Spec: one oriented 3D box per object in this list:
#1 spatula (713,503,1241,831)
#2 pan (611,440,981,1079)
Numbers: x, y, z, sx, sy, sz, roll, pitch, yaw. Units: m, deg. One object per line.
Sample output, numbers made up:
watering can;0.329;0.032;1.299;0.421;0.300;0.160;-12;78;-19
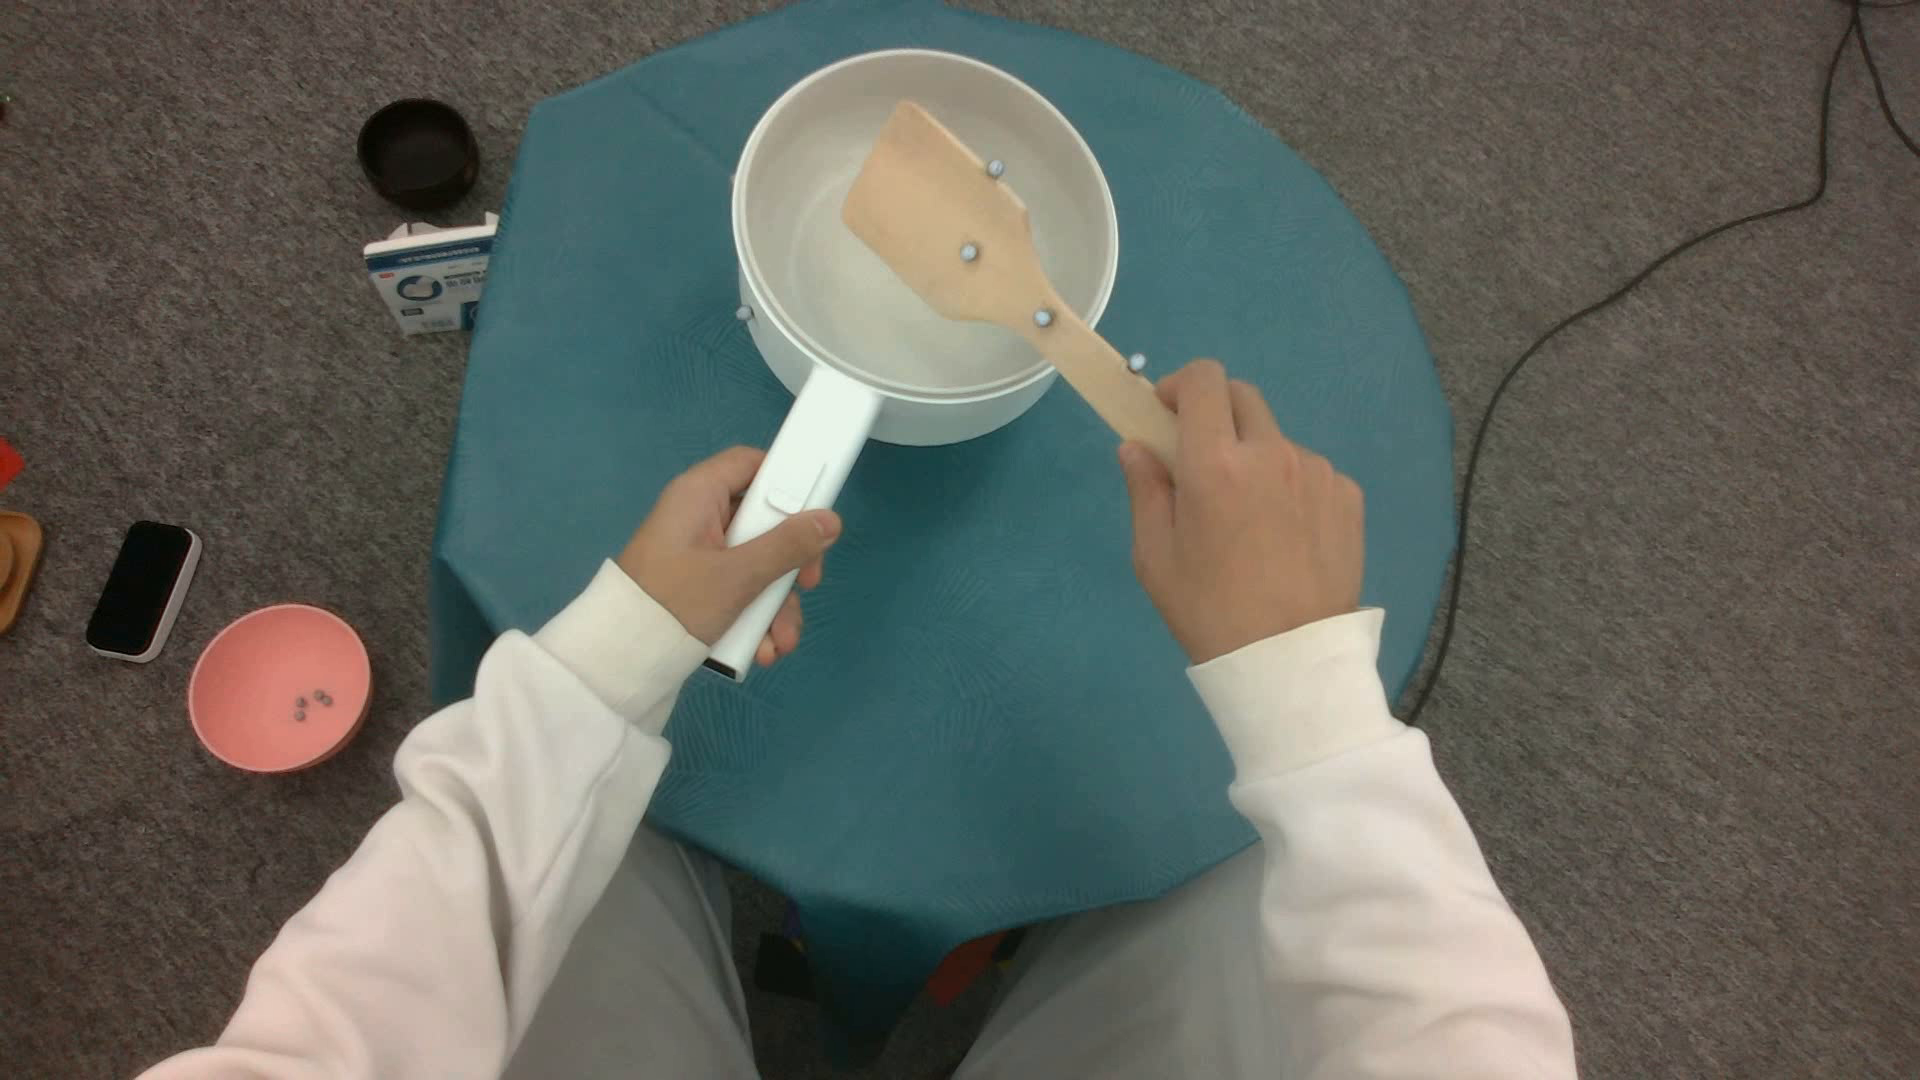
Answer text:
spatula;0.001;0.064;0.667;0.293;0.072;0.011;24;17;23
pan;-0.103;0.114;0.750;0.201;0.101;0.356;9;57;0
